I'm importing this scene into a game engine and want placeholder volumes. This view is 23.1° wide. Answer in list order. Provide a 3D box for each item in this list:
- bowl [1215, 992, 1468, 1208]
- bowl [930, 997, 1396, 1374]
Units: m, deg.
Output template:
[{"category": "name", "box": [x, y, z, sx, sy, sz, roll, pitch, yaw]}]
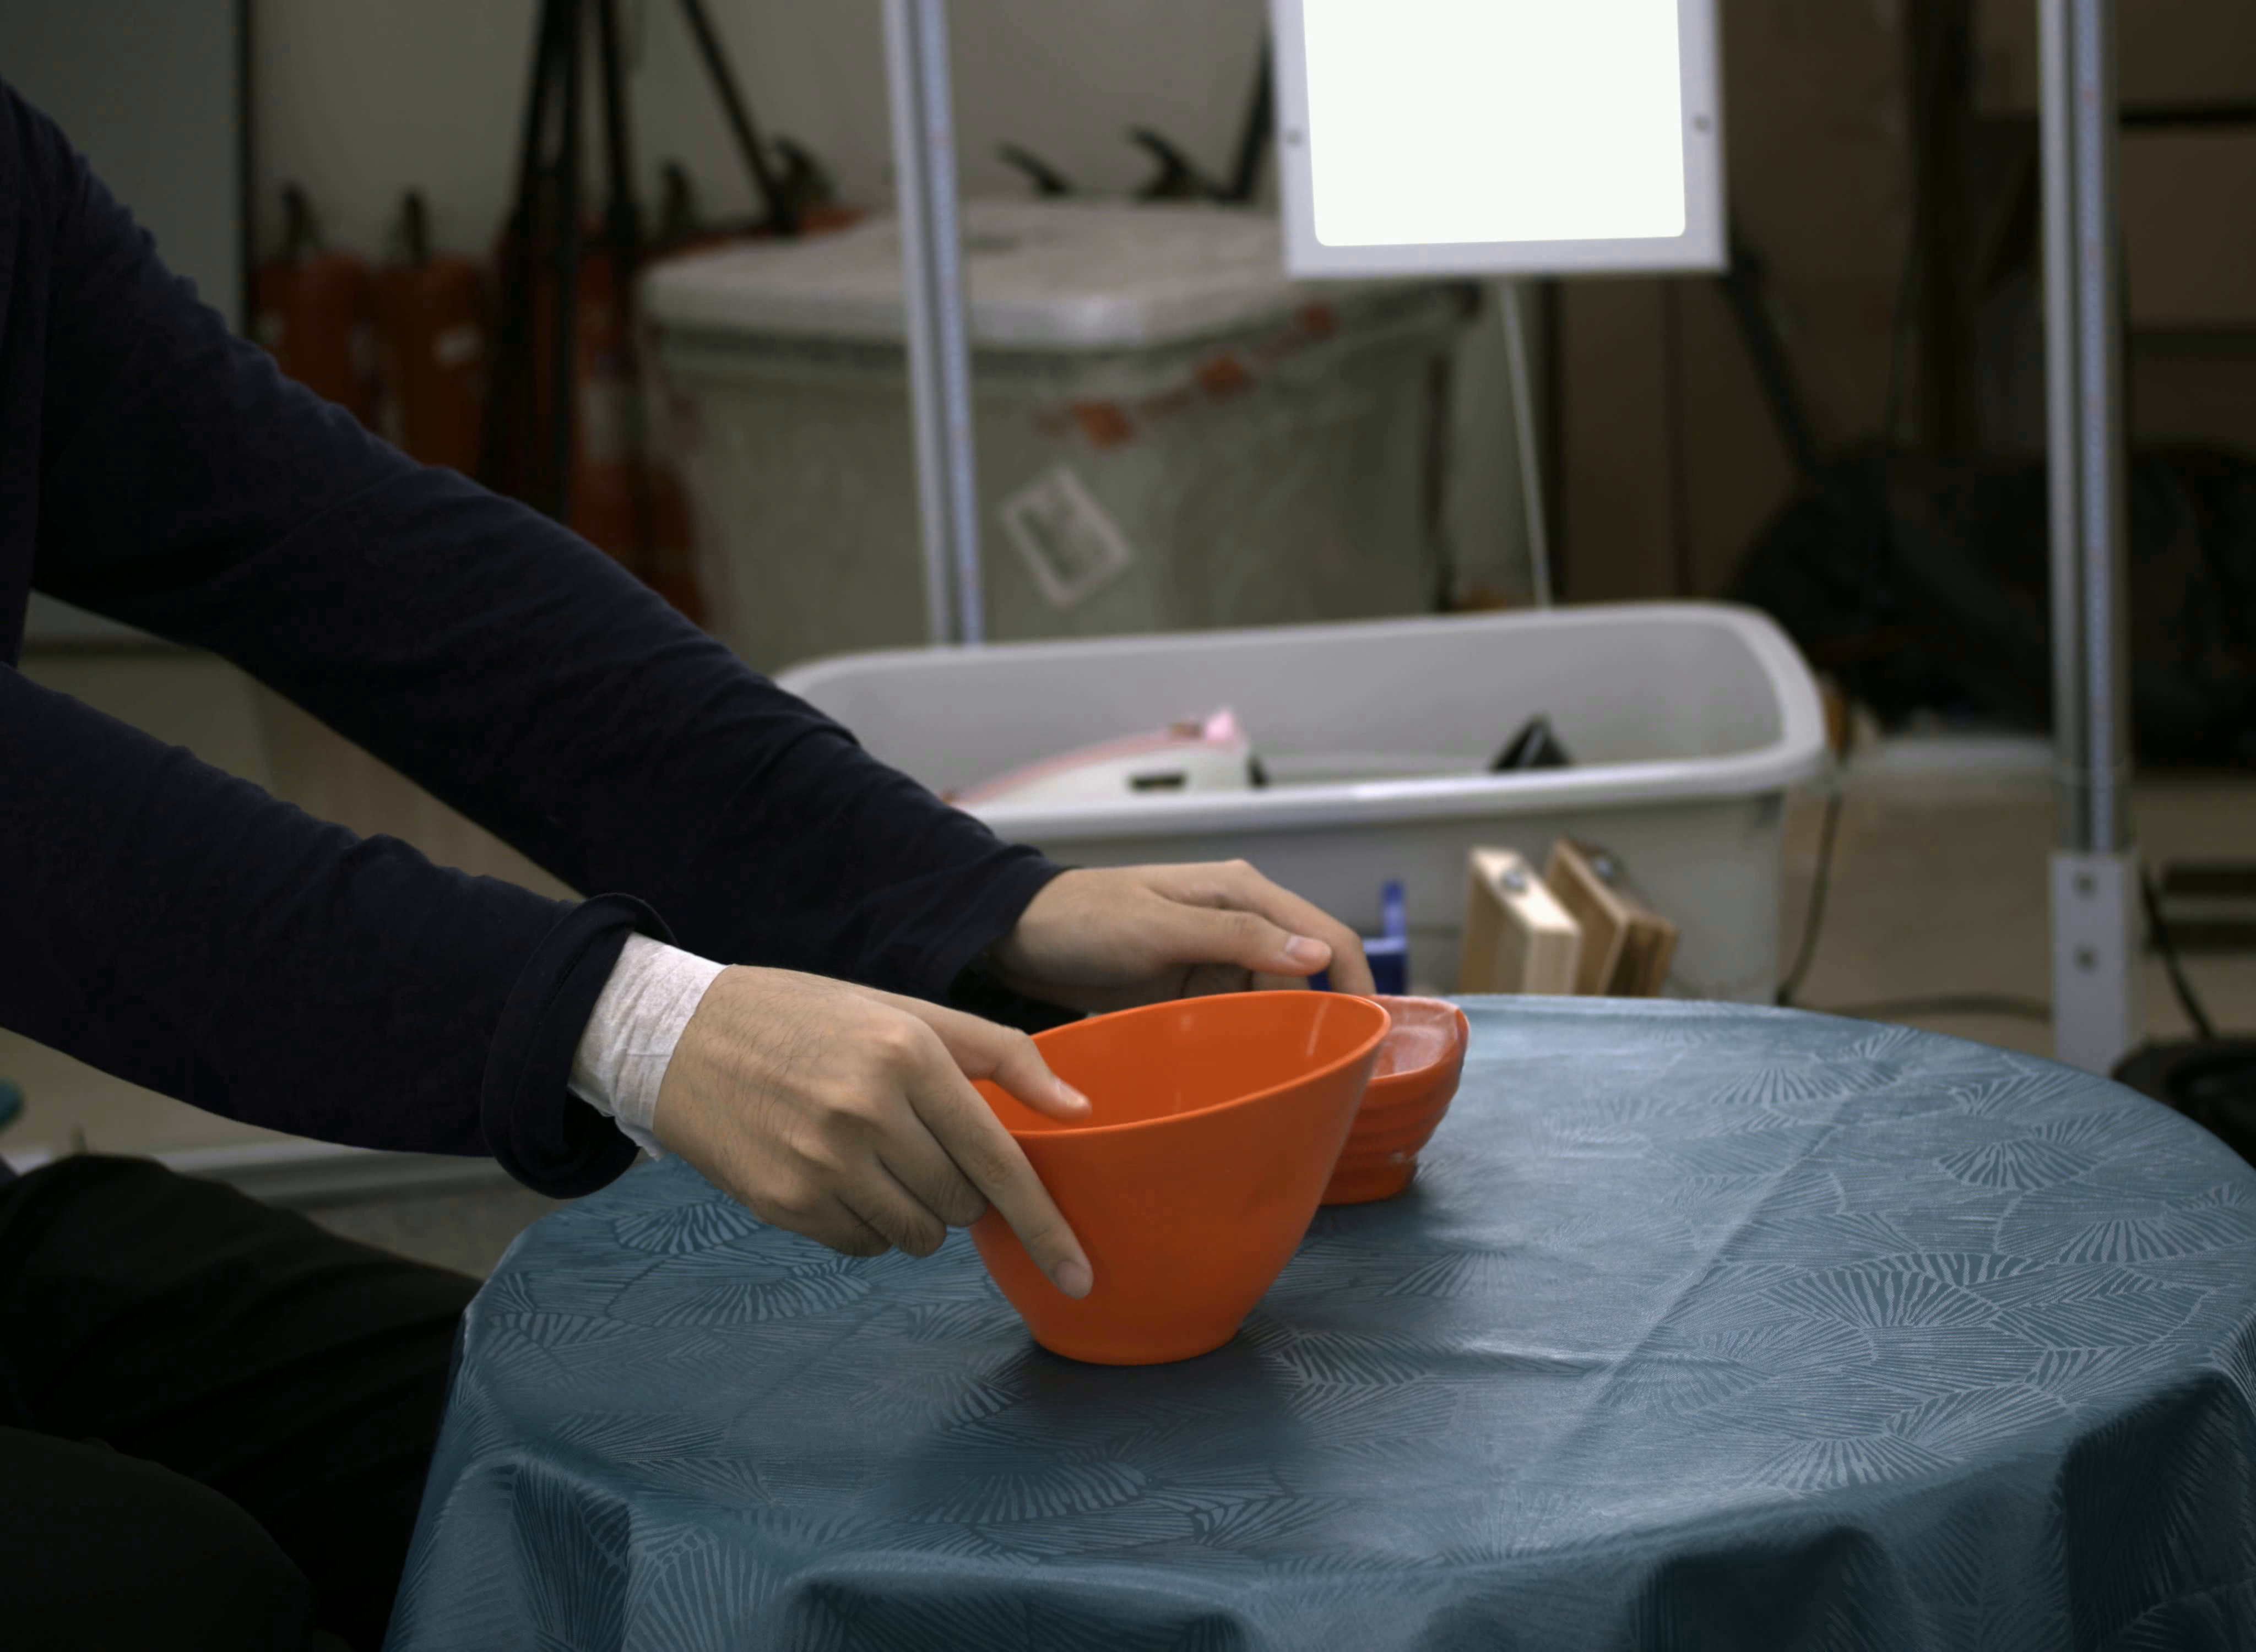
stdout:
[{"category": "bowl", "box": [0.064, 0.097, 1.897, 0.118, 0.051, 0.119, -7, 15, 0]}, {"category": "bowl", "box": [0.012, 0.114, 1.736, 0.147, 0.105, 0.148, -3, 16, -1]}]
